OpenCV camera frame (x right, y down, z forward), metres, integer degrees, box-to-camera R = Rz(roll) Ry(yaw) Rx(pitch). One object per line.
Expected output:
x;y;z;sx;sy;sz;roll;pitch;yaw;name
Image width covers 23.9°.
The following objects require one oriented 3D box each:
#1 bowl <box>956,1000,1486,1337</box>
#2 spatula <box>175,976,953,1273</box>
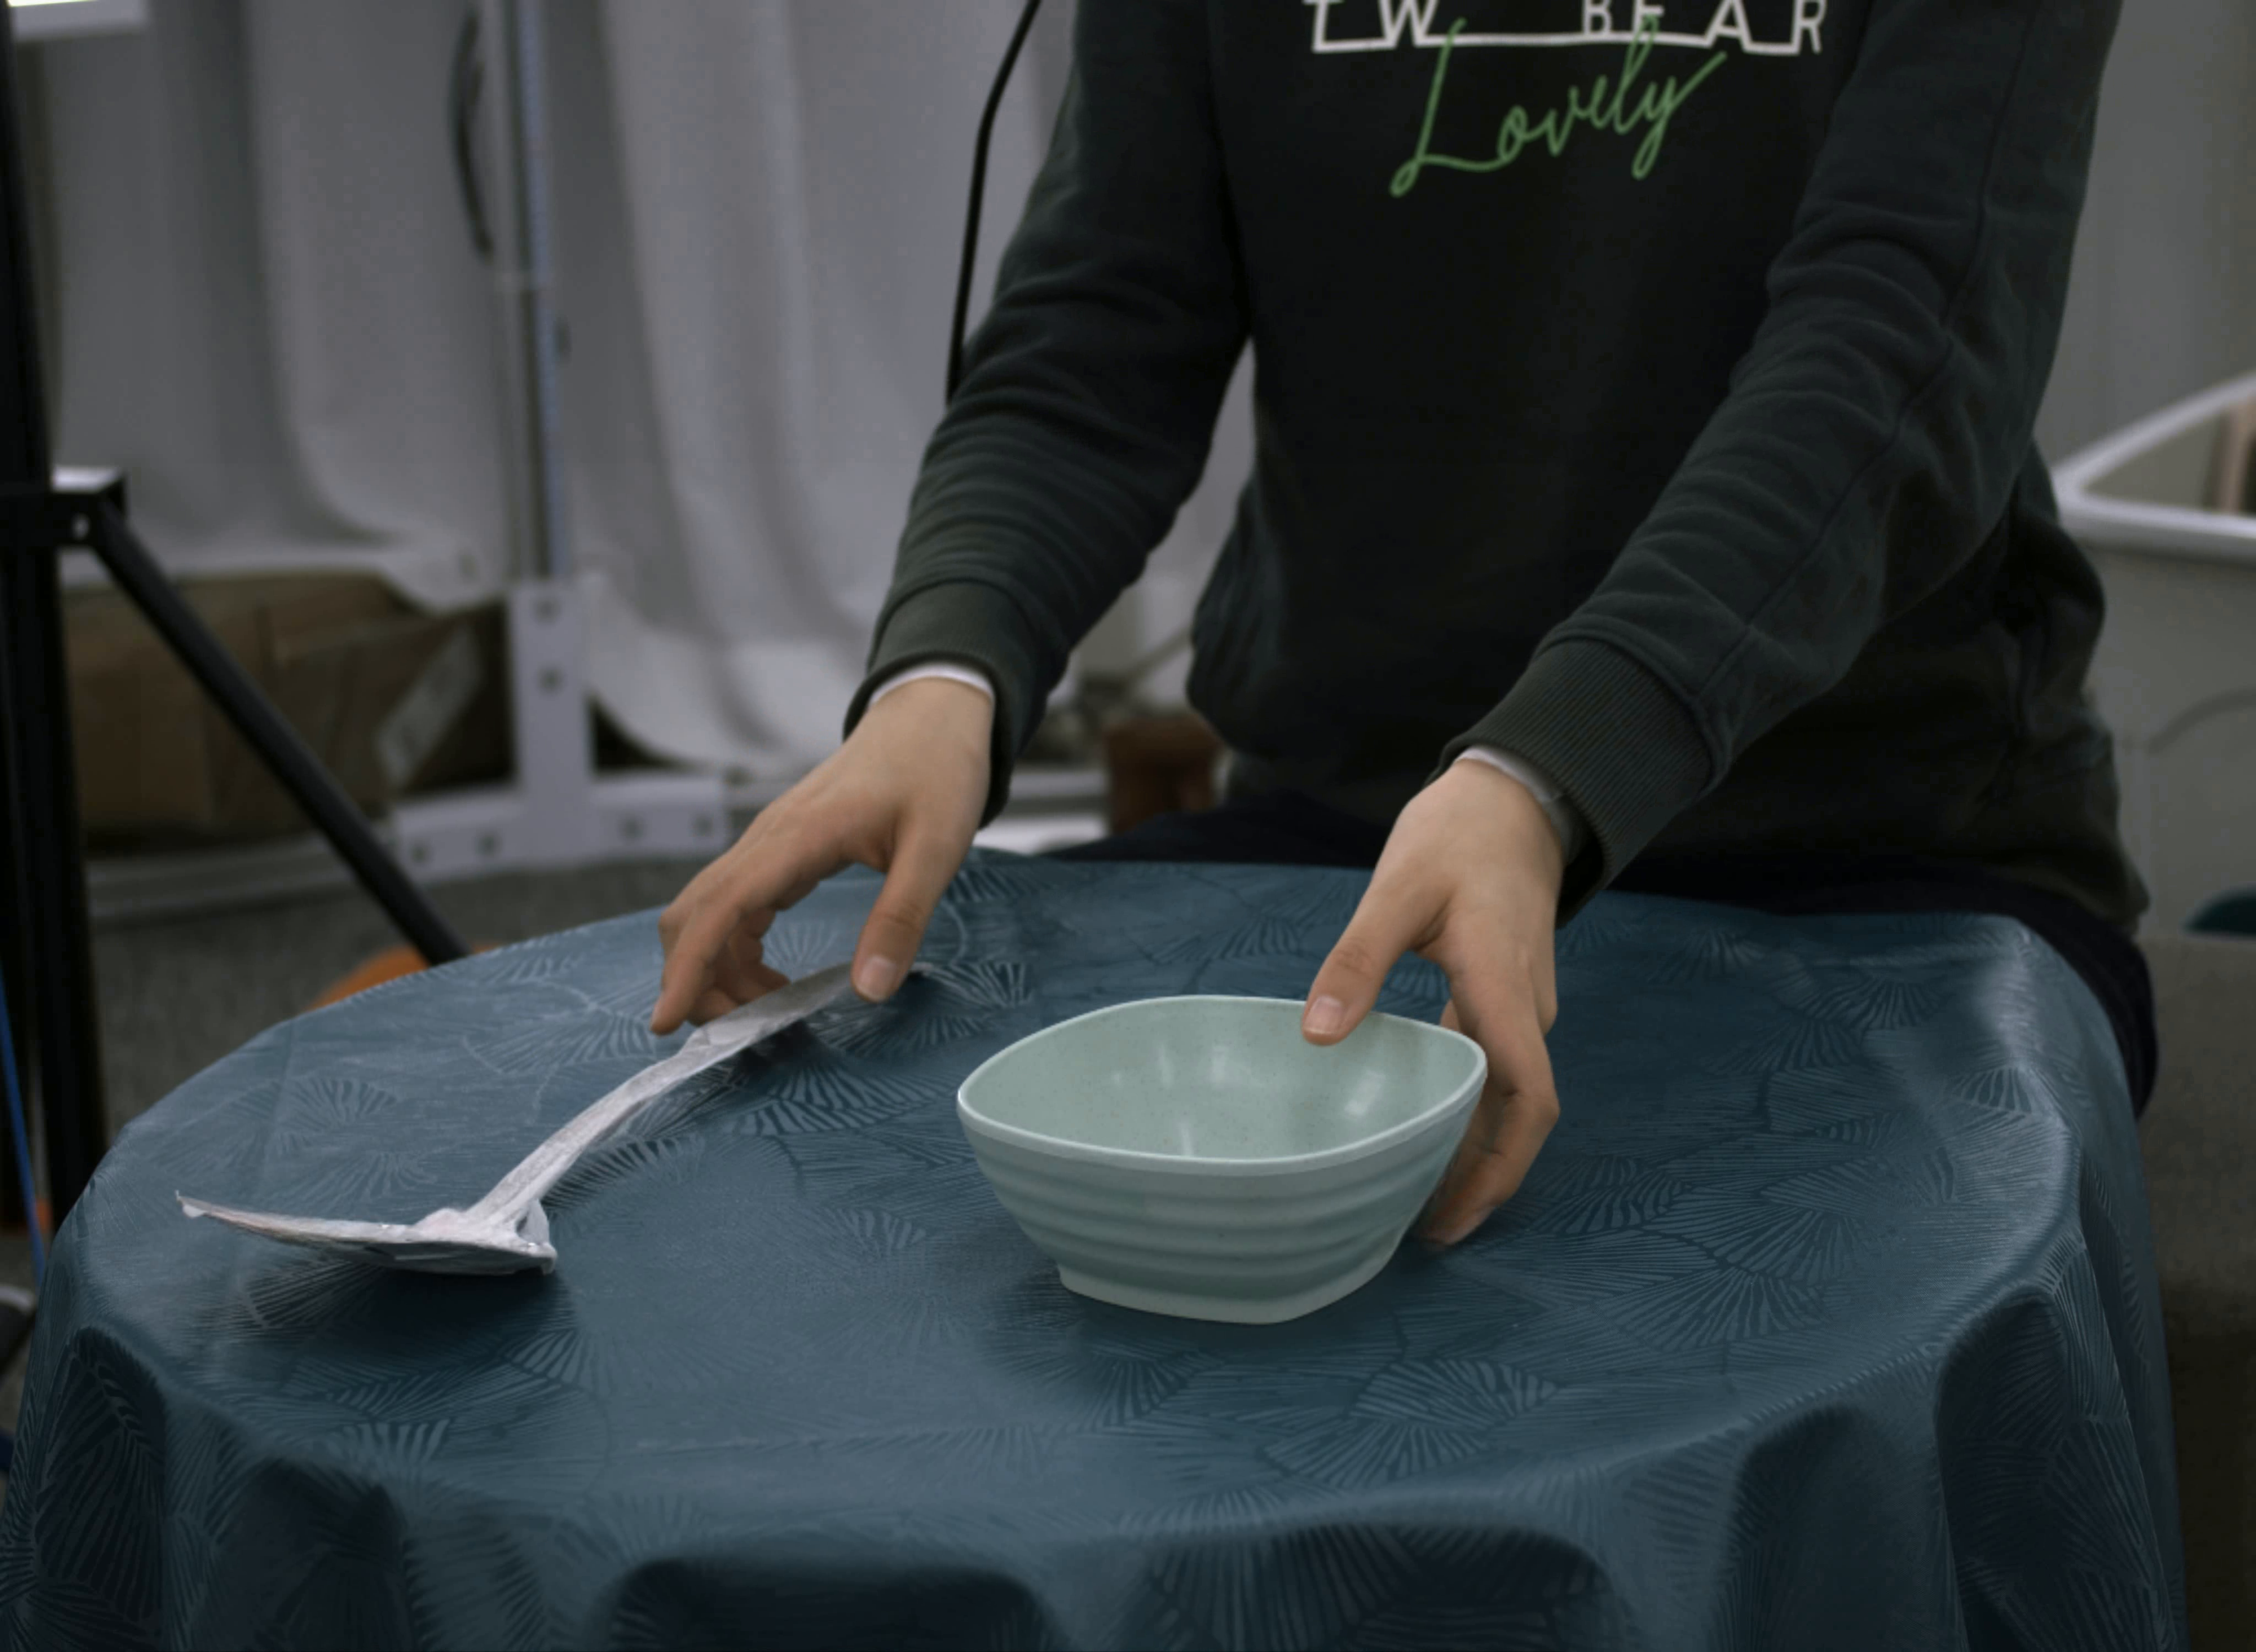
0.027;0.099;1.489;0.150;0.058;0.152;-2;16;-1;bowl
-0.148;0.080;1.610;0.100;0.045;0.359;3;17;27;spatula
